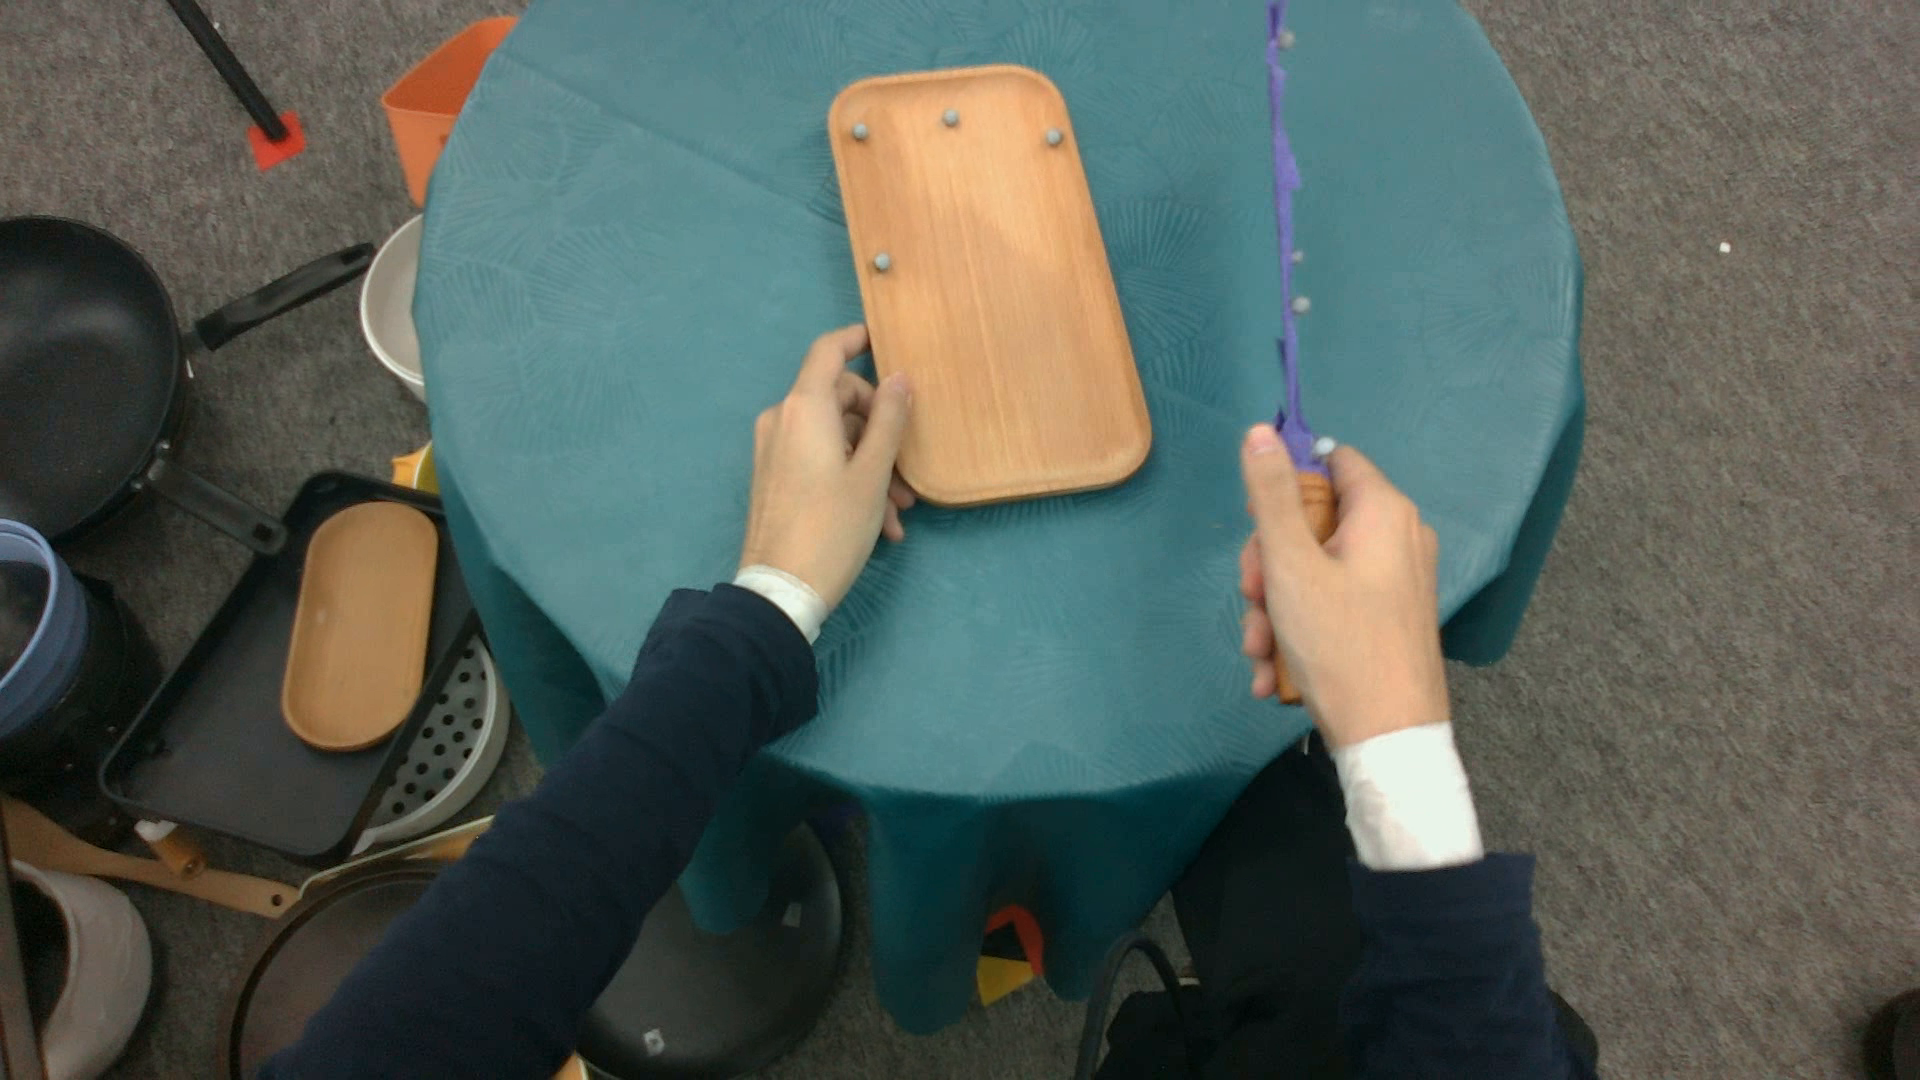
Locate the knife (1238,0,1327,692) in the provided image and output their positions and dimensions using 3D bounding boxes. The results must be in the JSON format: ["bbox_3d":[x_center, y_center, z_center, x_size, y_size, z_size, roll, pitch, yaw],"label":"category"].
[{"bbox_3d":[0.138,-0.088,0.605,0.032,0.104,0.316,-3,77,14],"label":"knife"}]

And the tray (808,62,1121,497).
[{"bbox_3d":[-0.001,-0.138,0.694,0.130,0.023,0.251,-6,68,-7],"label":"tray"}]
